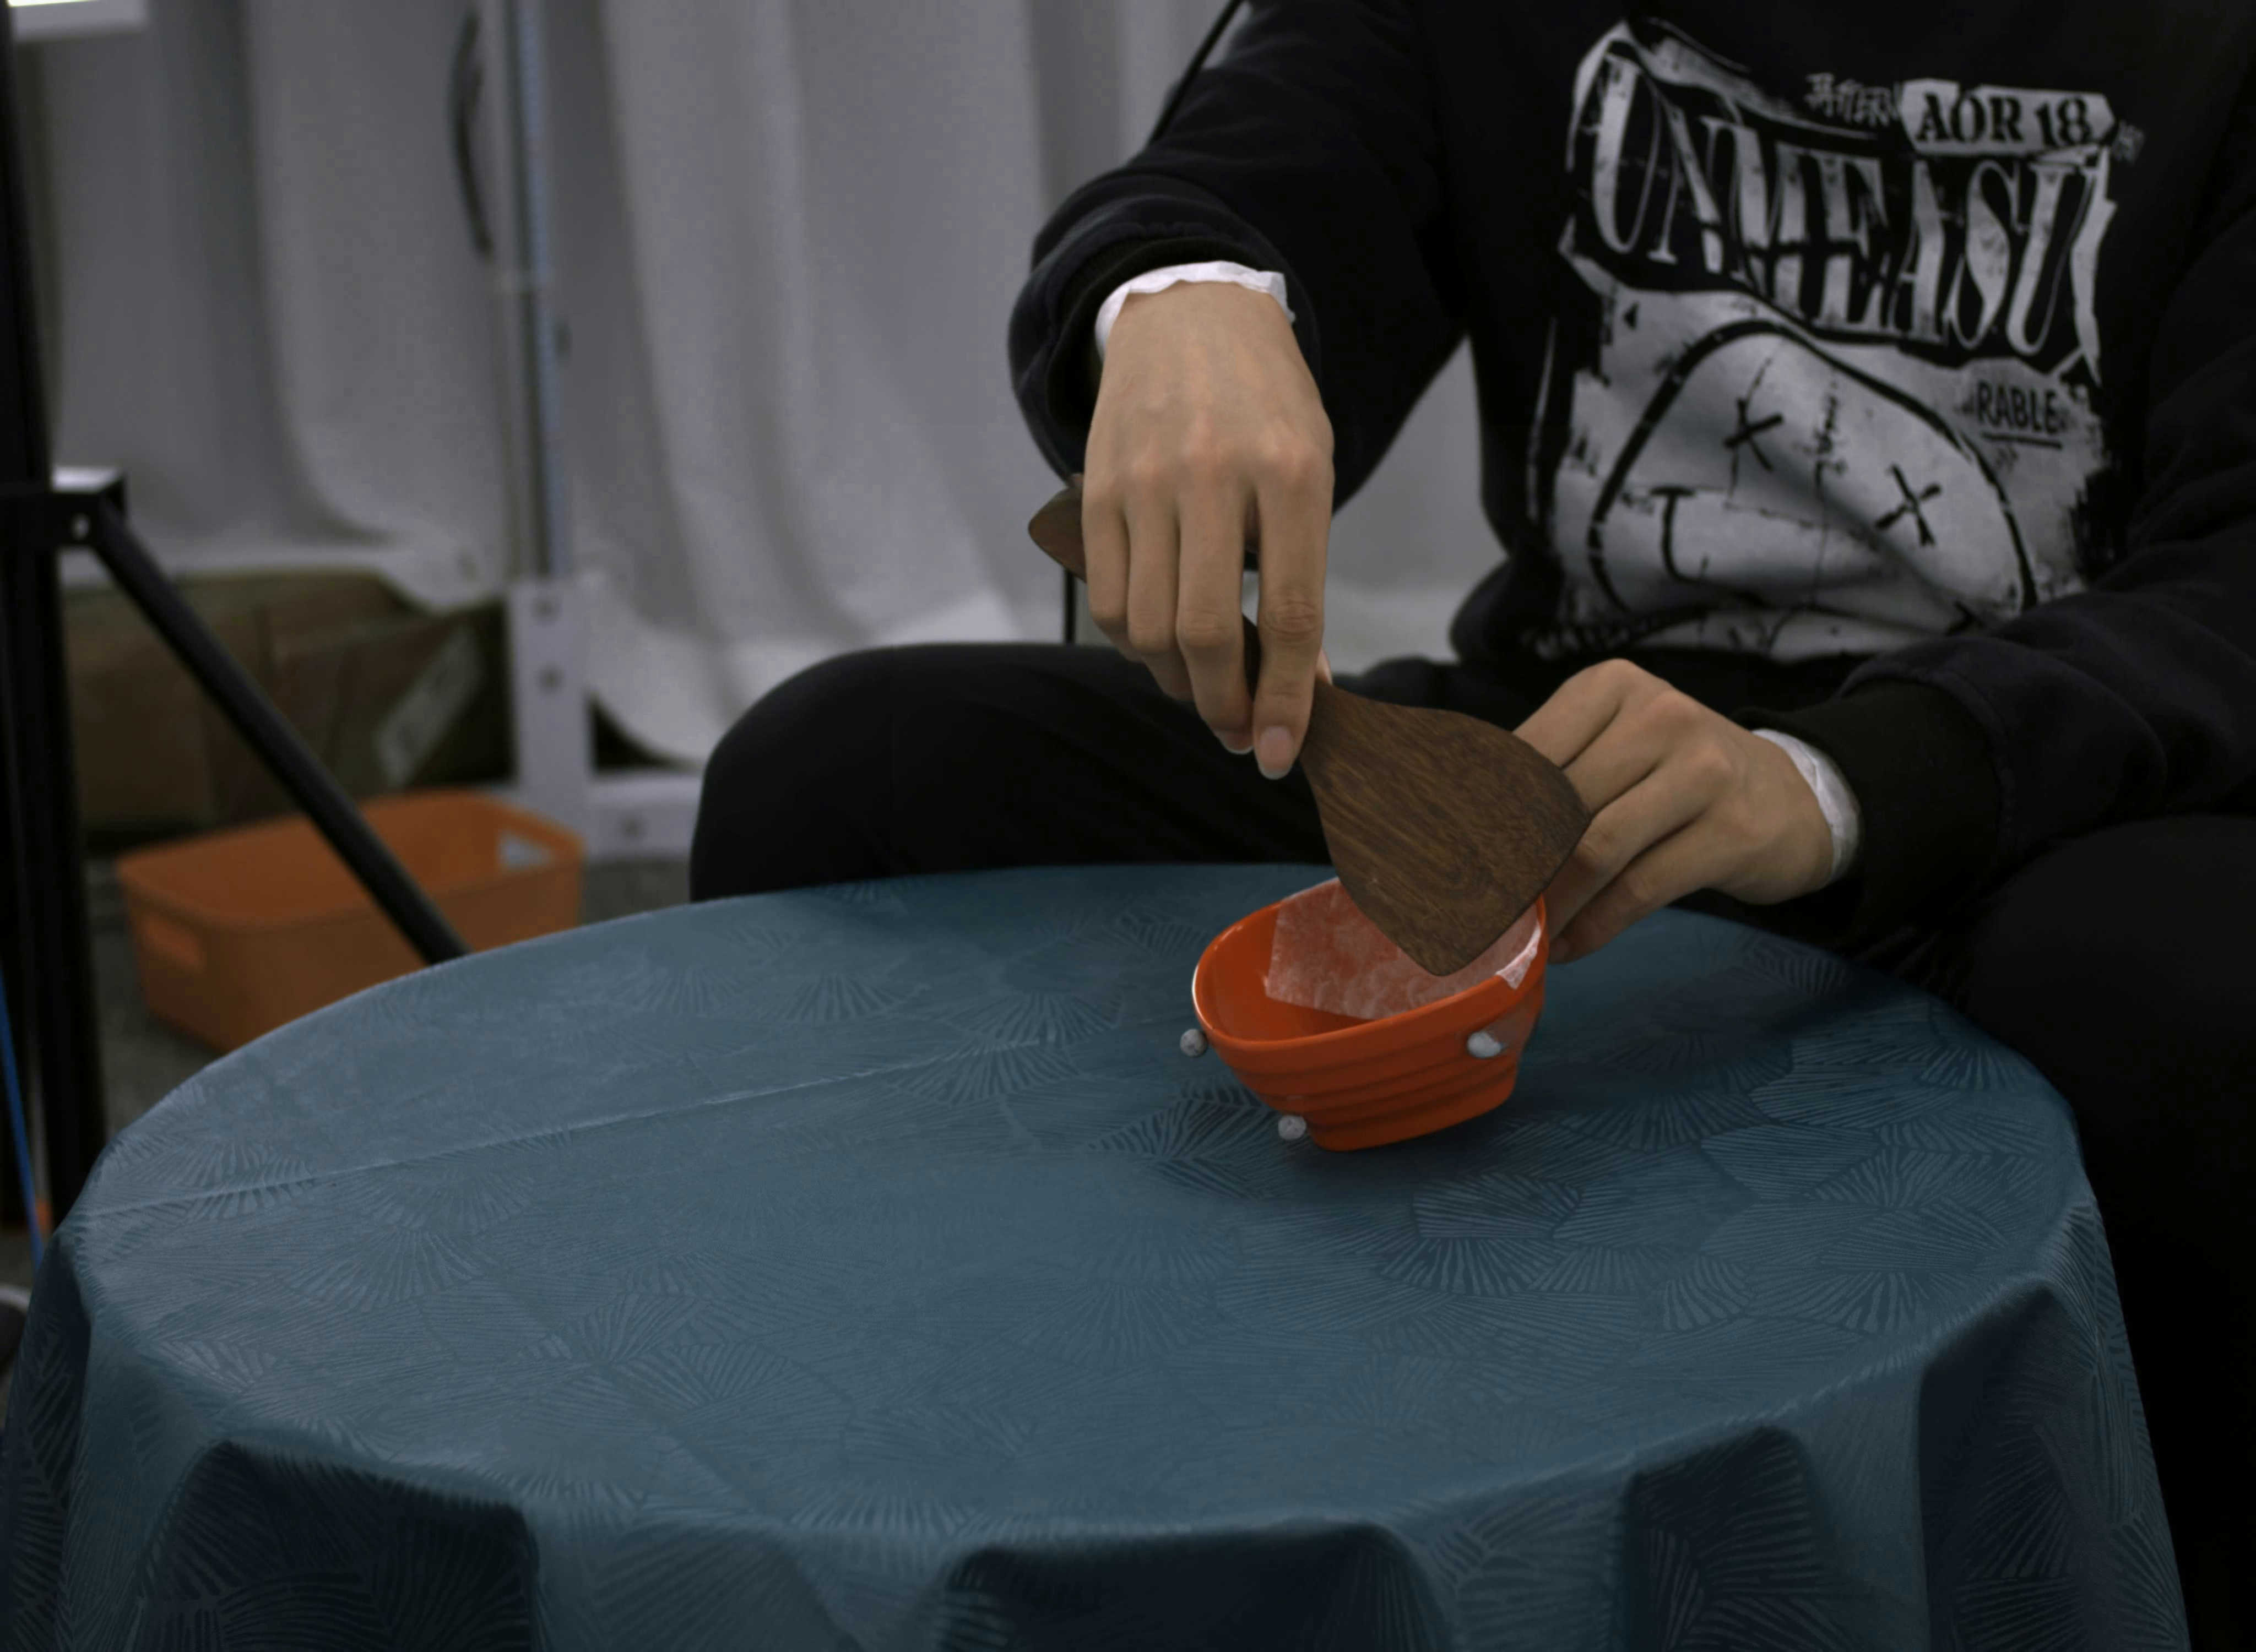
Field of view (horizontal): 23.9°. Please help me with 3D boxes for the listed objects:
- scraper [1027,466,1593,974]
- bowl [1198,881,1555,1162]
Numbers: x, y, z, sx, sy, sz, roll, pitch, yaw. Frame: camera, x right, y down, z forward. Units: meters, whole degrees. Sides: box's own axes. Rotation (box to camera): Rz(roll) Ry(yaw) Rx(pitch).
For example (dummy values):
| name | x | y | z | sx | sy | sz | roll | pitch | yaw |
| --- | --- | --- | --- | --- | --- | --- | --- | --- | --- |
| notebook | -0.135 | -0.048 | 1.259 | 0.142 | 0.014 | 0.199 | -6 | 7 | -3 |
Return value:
| name | x | y | z | sx | sy | sz | roll | pitch | yaw |
| --- | --- | --- | --- | --- | --- | --- | --- | --- | --- |
| scraper | 0.048 | -0.041 | 1.611 | 0.215 | 0.076 | 0.010 | 41 | -1 | 26 |
| bowl | 0.081 | 0.060 | 1.597 | 0.119 | 0.051 | 0.120 | -19 | 21 | 6 |
